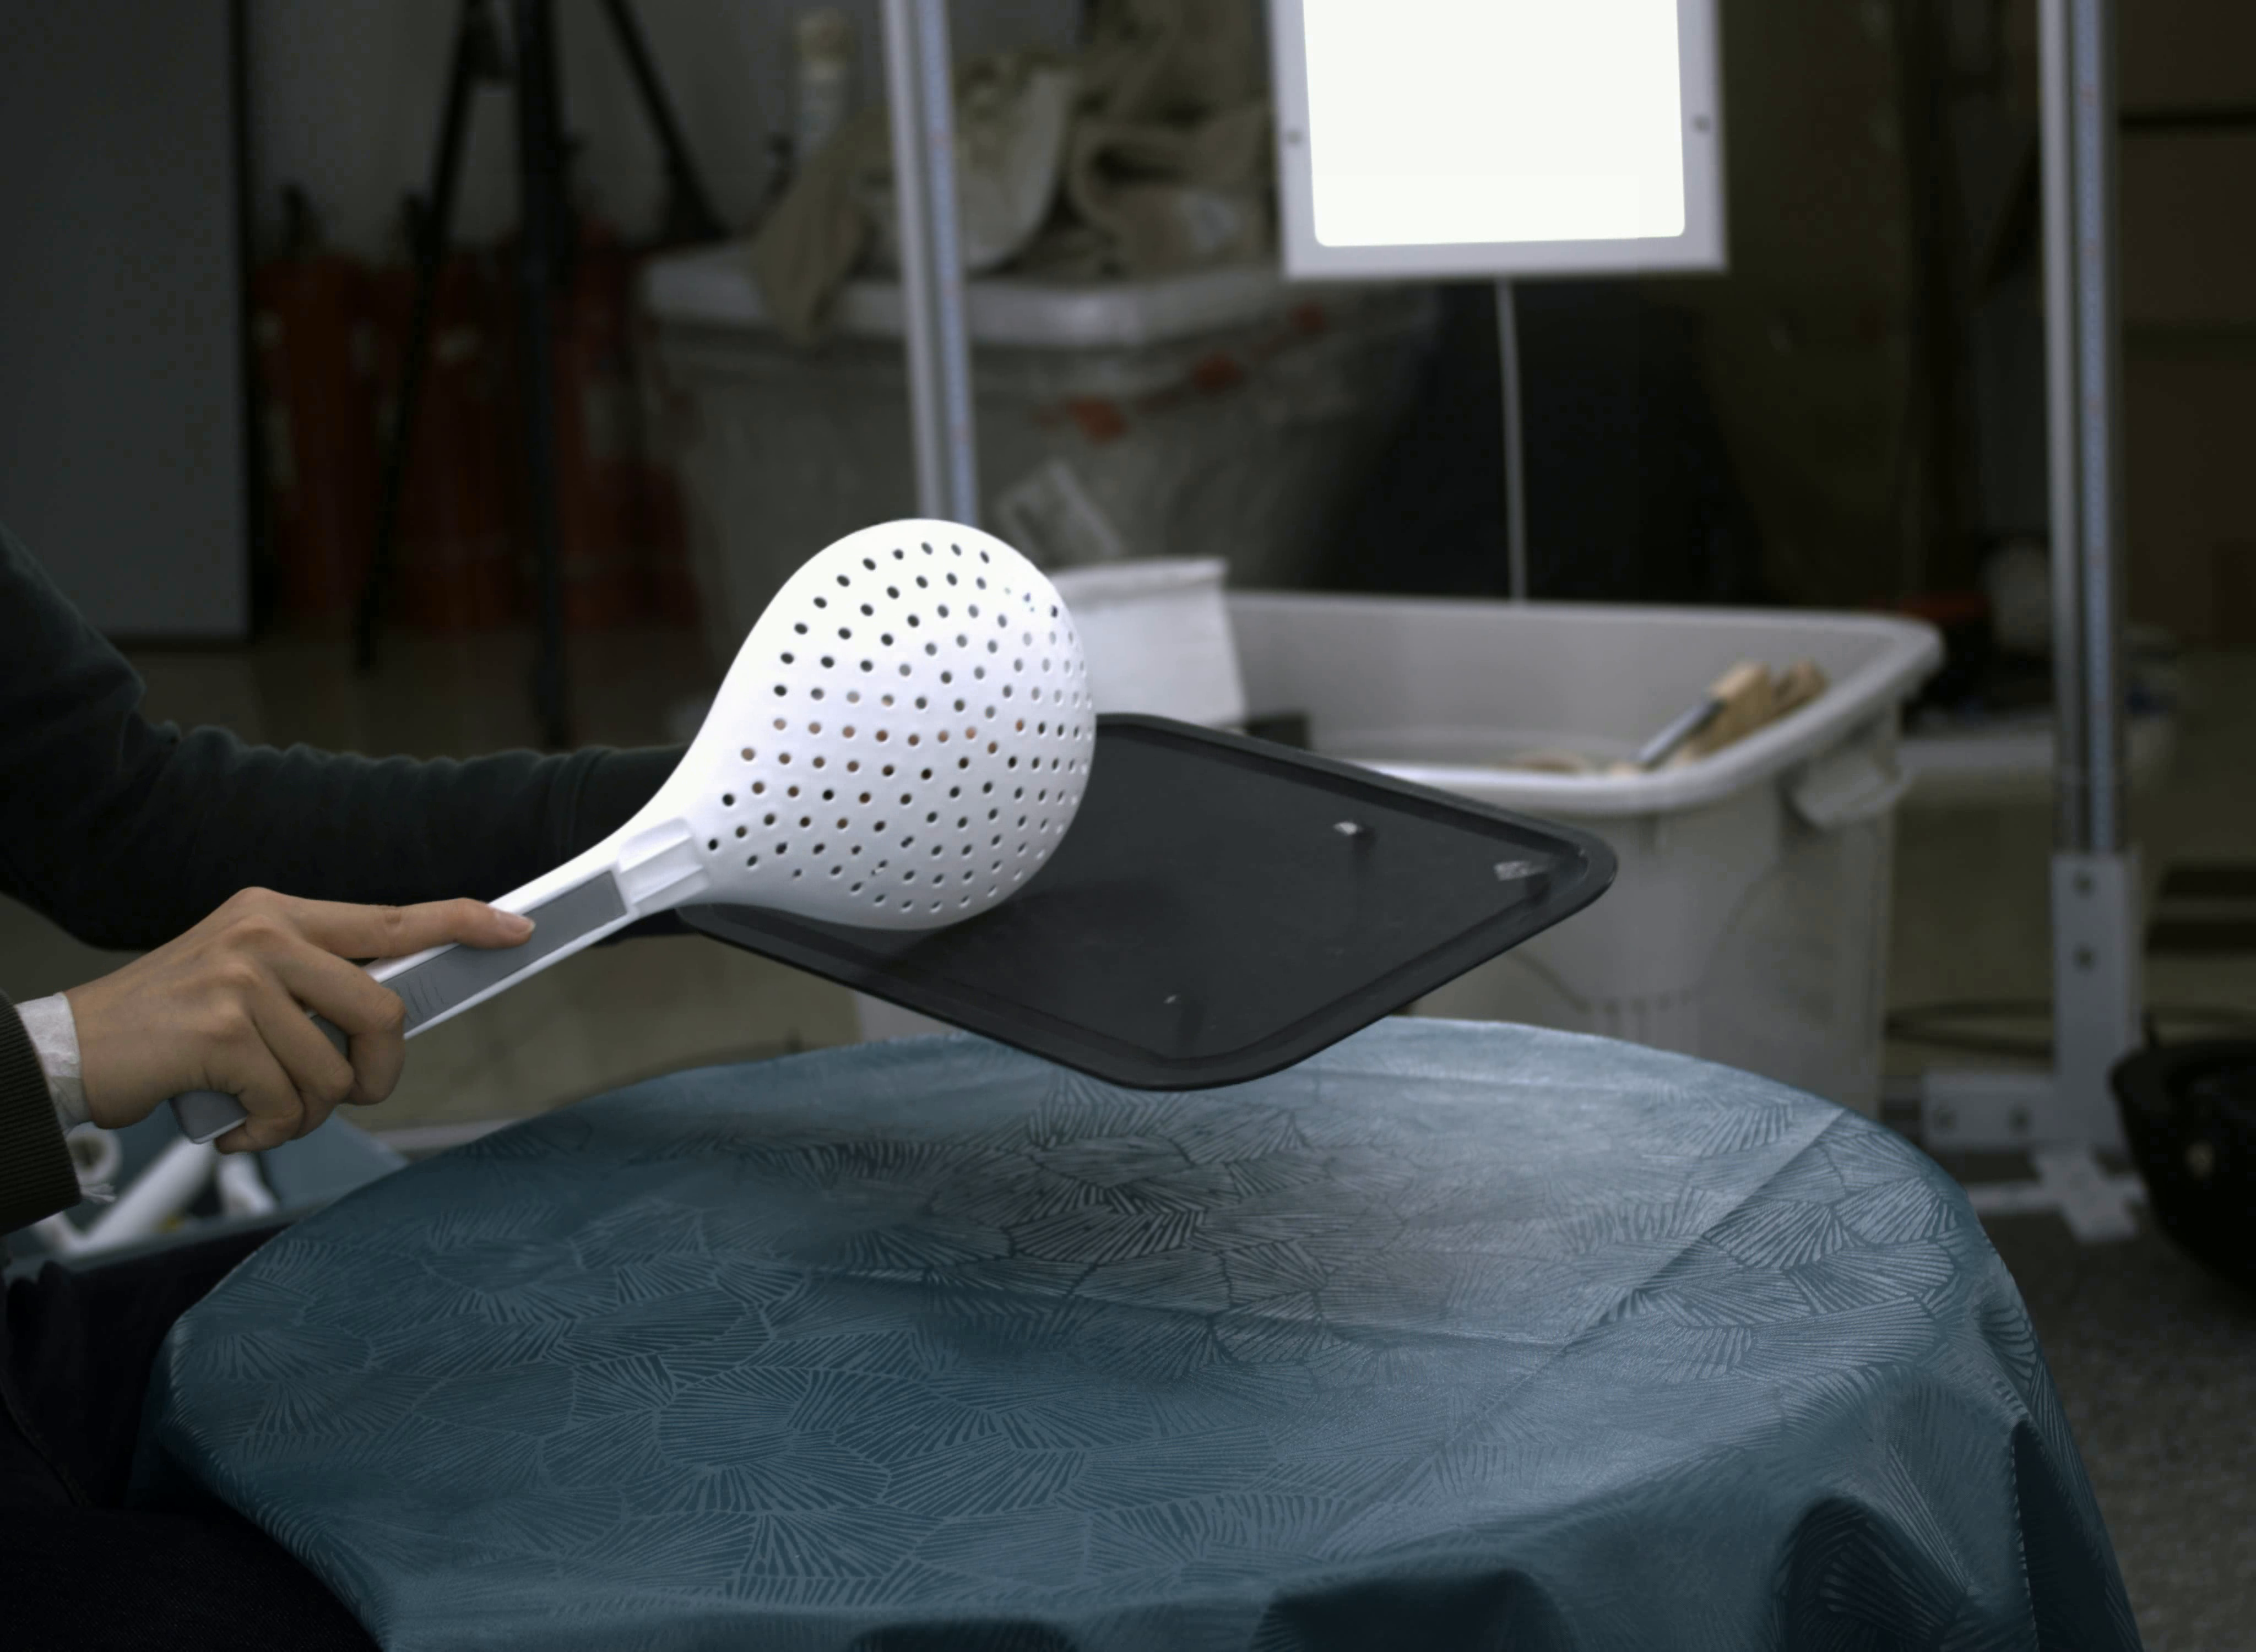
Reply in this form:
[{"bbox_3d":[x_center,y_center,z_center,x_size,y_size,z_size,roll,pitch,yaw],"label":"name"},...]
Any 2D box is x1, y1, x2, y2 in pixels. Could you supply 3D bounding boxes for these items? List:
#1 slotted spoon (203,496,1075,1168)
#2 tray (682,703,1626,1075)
[{"bbox_3d":[-0.150,0.011,1.777,0.344,0.136,0.046,-30,26,-21],"label":"slotted spoon"},{"bbox_3d":[-0.002,0.014,1.848,0.206,0.010,0.332,-27,27,-32],"label":"tray"}]
